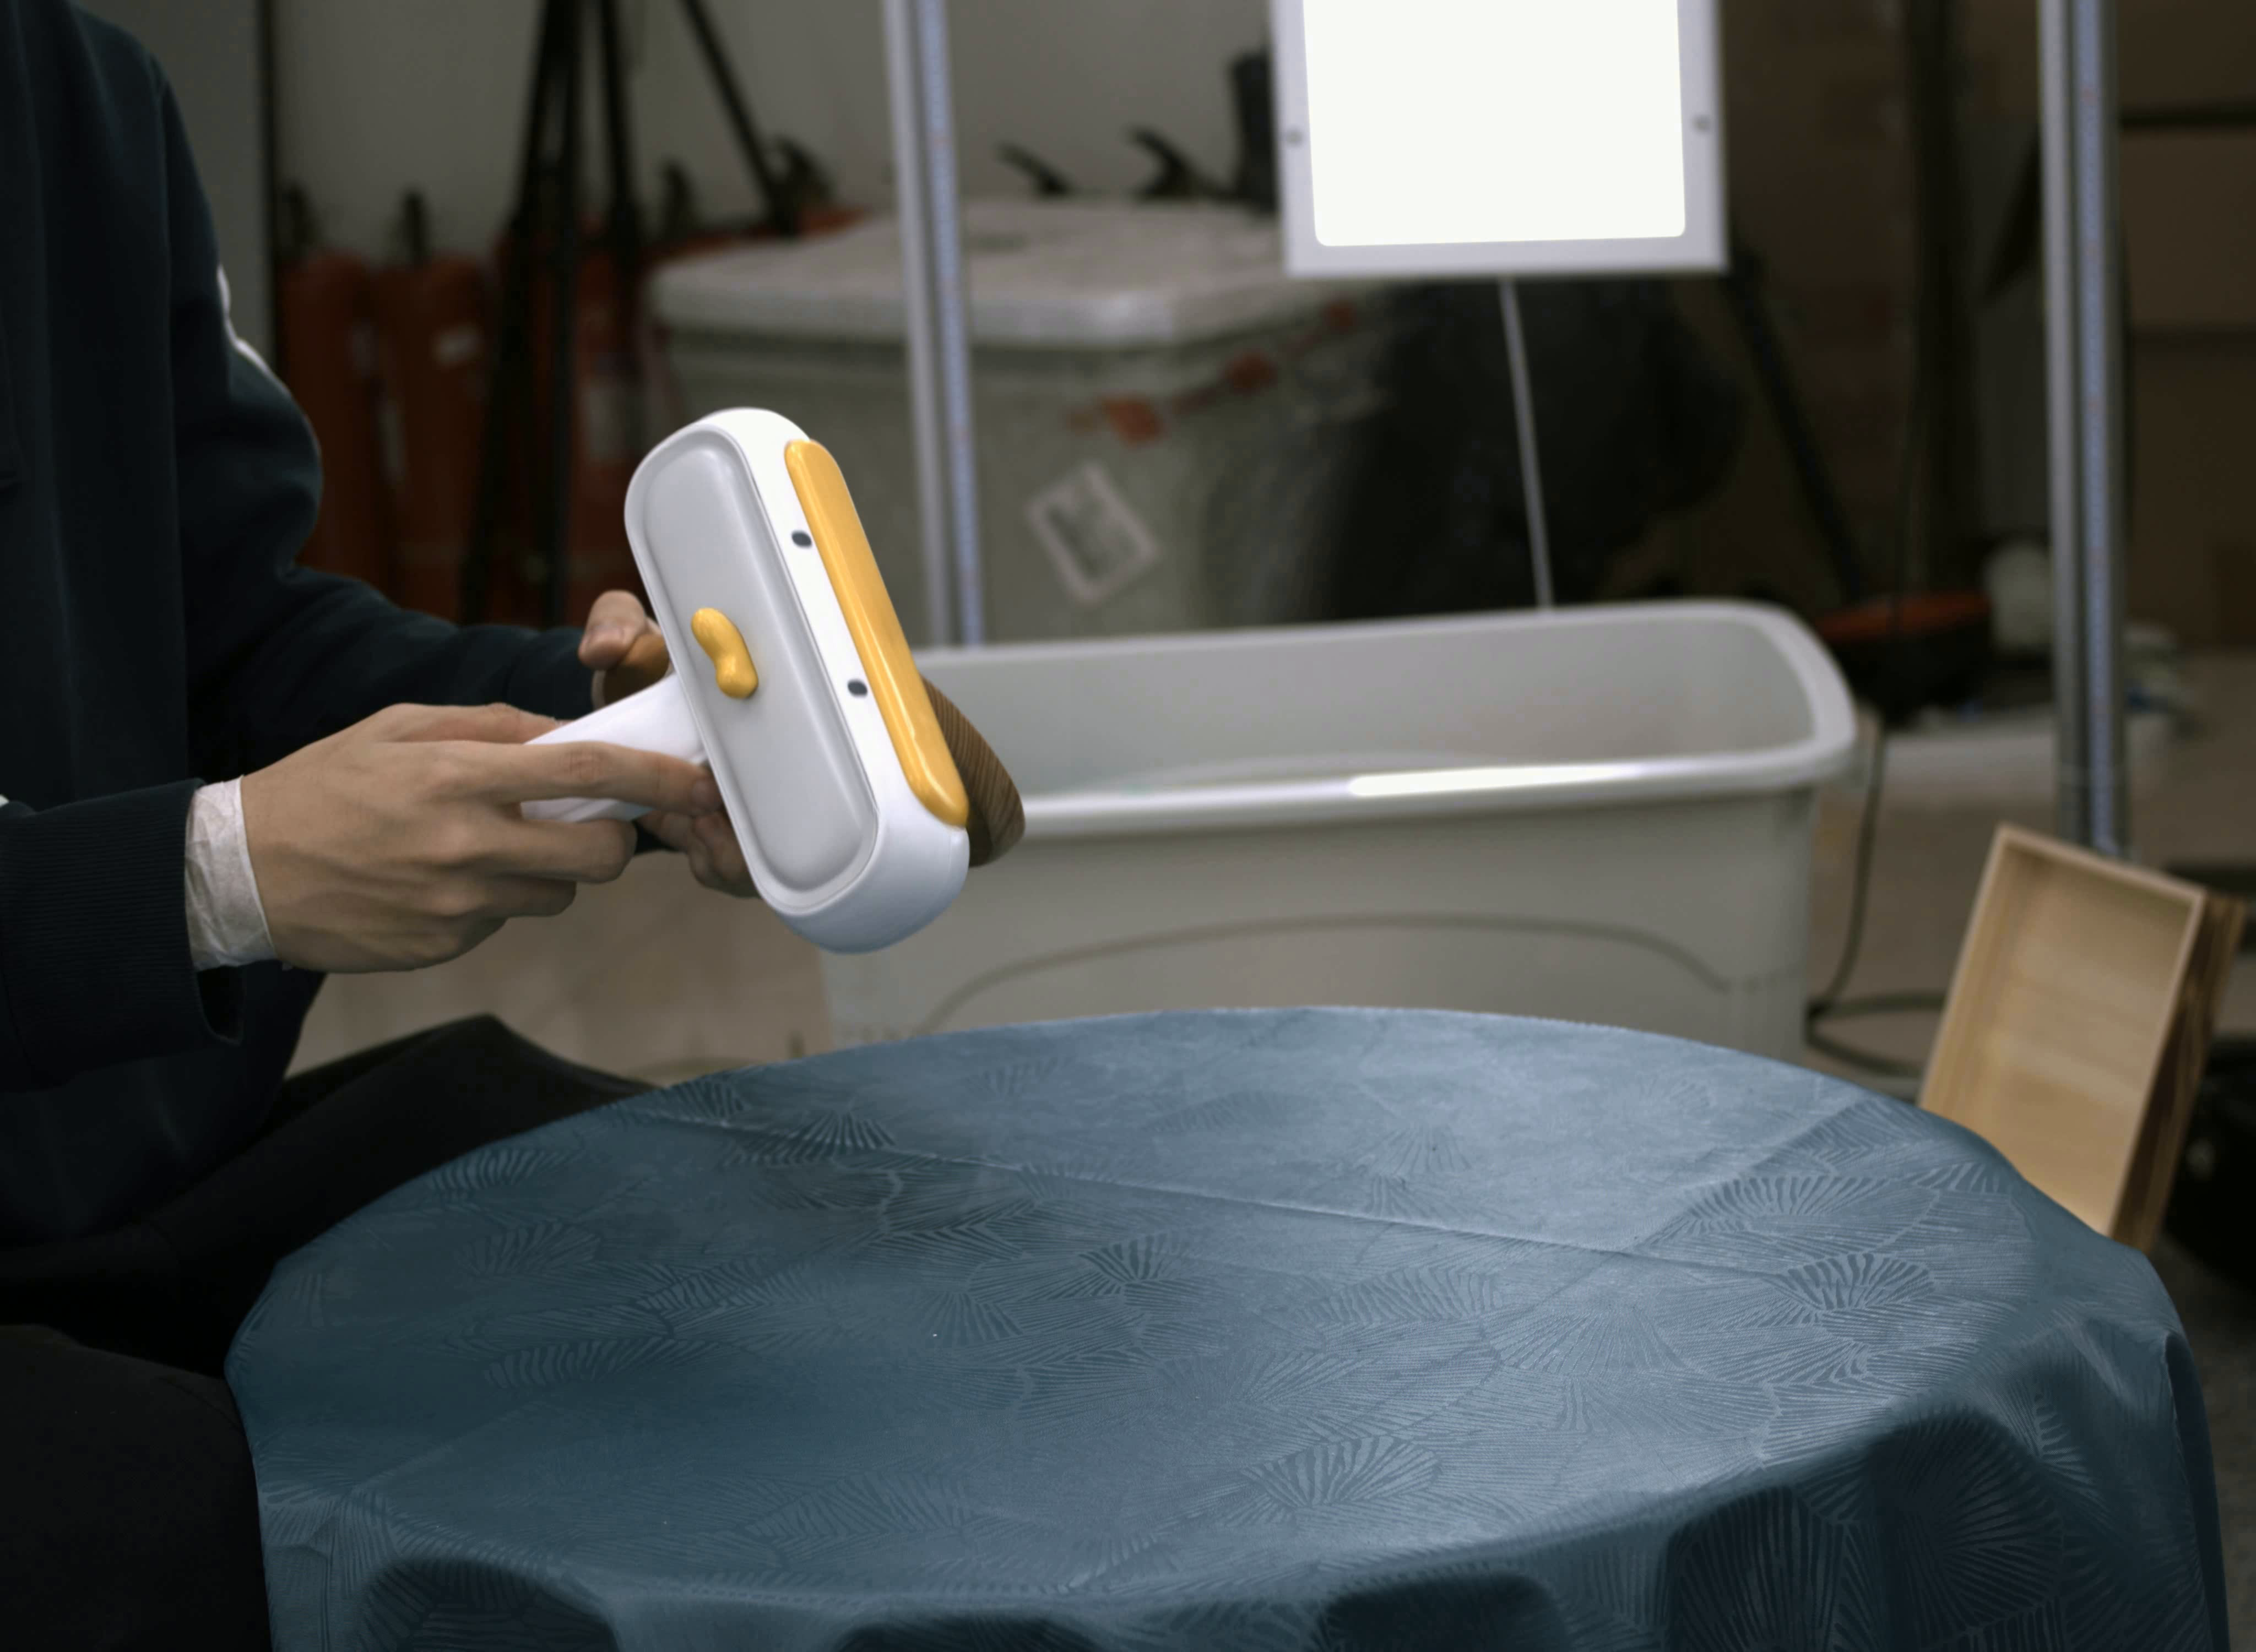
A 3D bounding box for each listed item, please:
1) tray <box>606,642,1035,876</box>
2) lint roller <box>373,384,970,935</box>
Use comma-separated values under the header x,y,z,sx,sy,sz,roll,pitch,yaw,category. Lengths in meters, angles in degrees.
x,y,z,sx,sy,sz,roll,pitch,yaw,category
-0.110,-0.023,1.911,0.020,0.101,0.236,-48,24,-21,tray
-0.161,-0.027,1.817,0.195,0.194,0.073,-35,-22,19,lint roller
